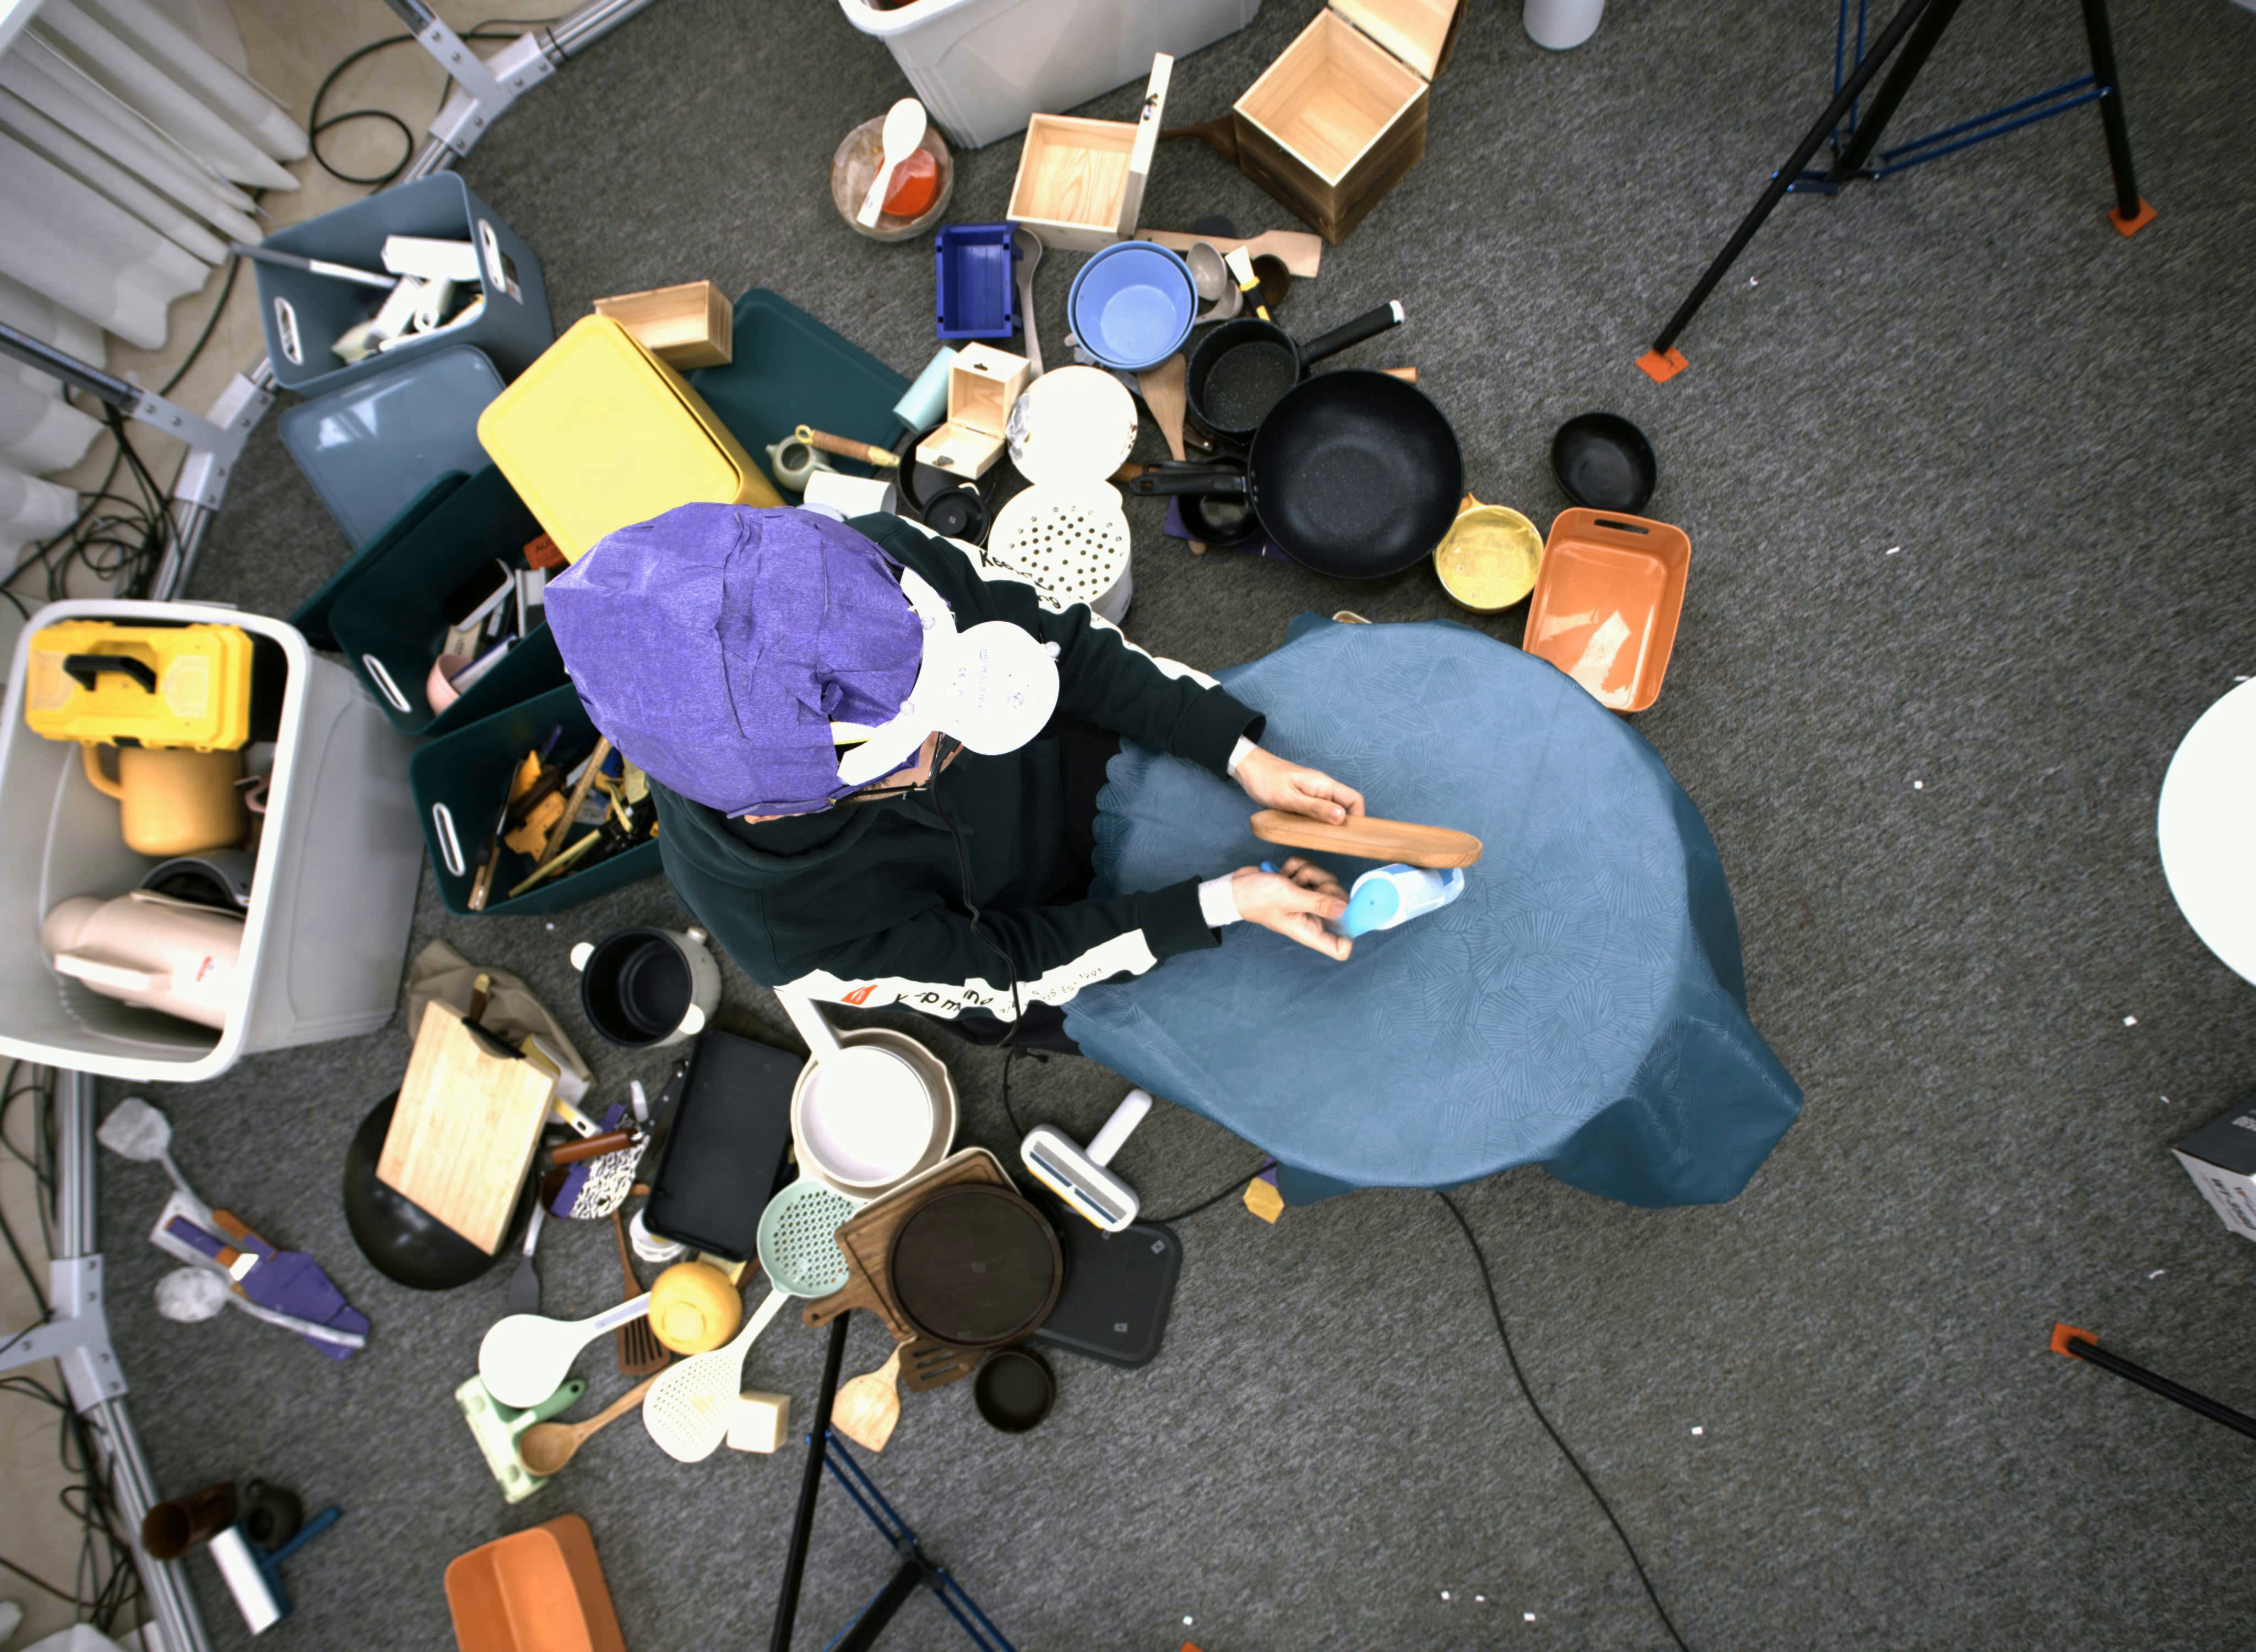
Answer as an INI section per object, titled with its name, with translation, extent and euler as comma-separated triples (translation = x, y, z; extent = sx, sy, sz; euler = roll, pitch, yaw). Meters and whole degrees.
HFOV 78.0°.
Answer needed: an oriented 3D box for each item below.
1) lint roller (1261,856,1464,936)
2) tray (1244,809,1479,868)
[lint roller]
translation = 0.216, 0.061, 1.340
extent = 0.181, 0.226, 0.068
euler = -1, 95, 32
[tray]
translation = 0.224, 0.010, 1.342
extent = 0.232, 0.100, 0.020
euler = 7, 105, 25
